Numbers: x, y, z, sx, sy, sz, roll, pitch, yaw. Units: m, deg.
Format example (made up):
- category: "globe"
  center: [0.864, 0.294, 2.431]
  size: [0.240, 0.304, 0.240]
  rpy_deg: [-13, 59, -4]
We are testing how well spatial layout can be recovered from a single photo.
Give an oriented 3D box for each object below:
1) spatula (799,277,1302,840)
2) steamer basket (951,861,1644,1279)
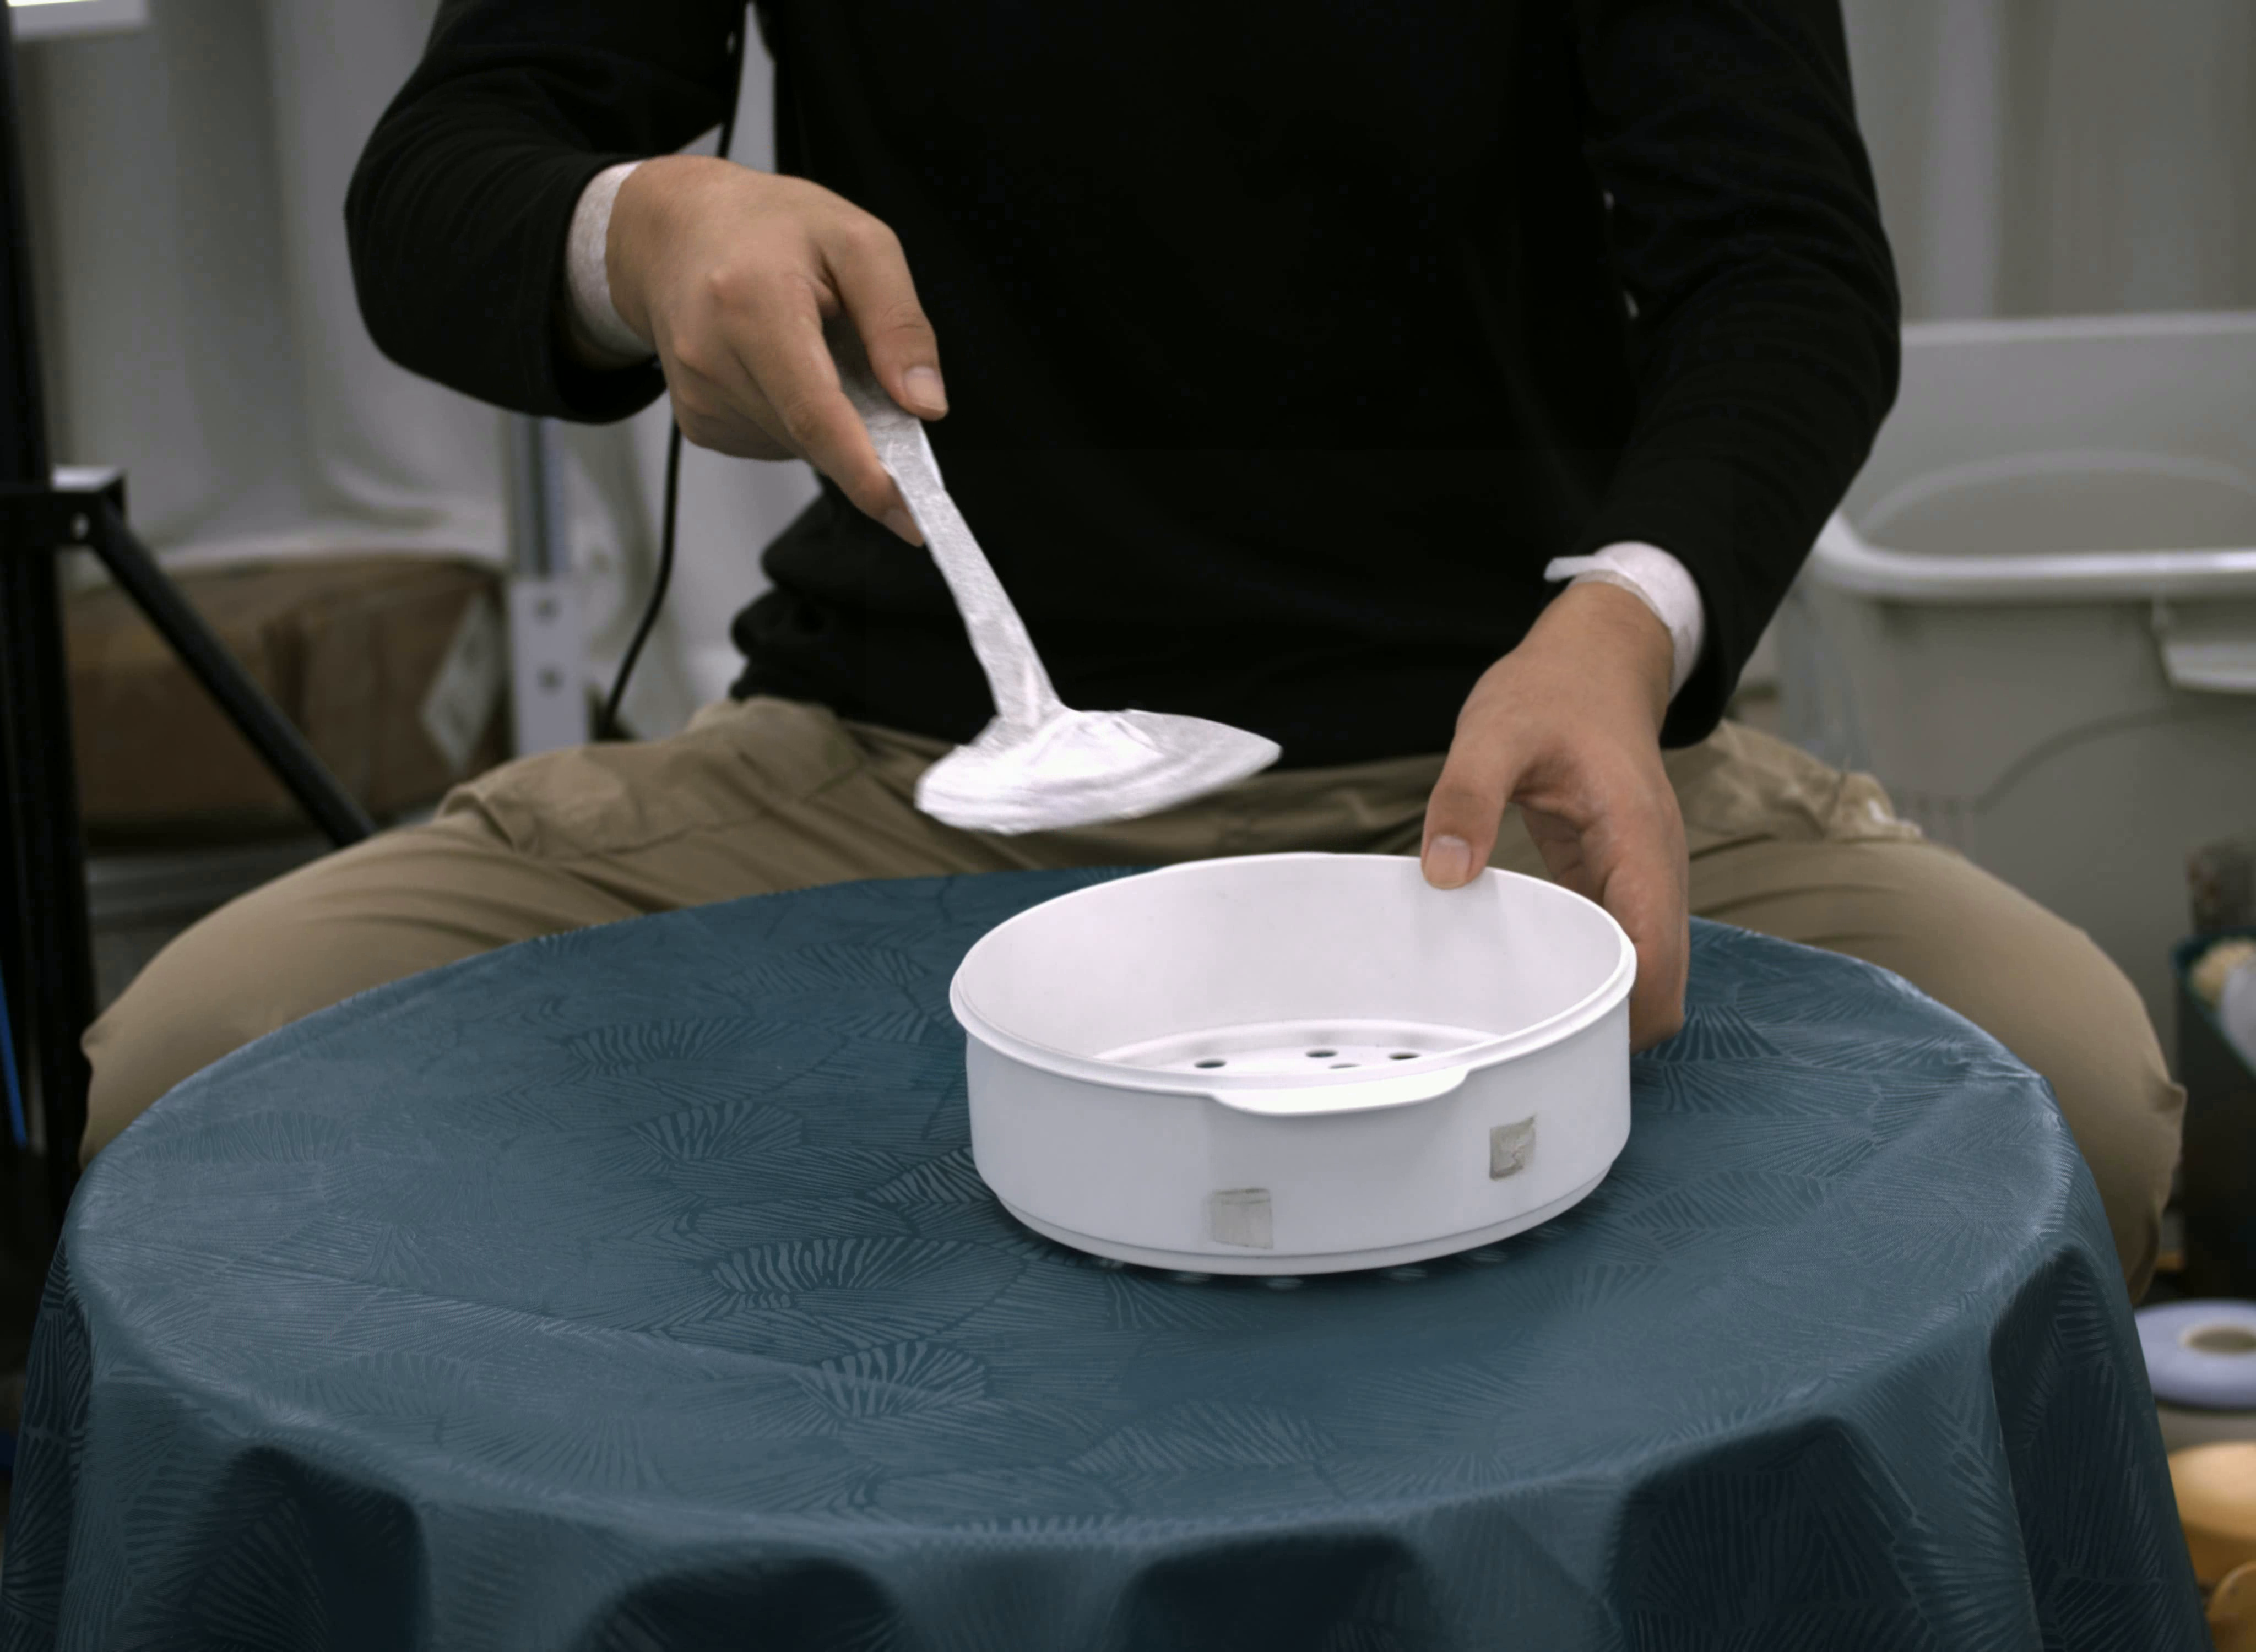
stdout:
- category: "spatula"
  center: [-0.047, -0.090, 1.585]
  size: [0.097, 0.044, 0.372]
  rpy_deg: [-15, 38, -11]
- category: "steamer basket"
  center: [0.050, 0.070, 1.546]
  size: [0.200, 0.069, 0.232]
  rpy_deg: [-4, 17, -3]
